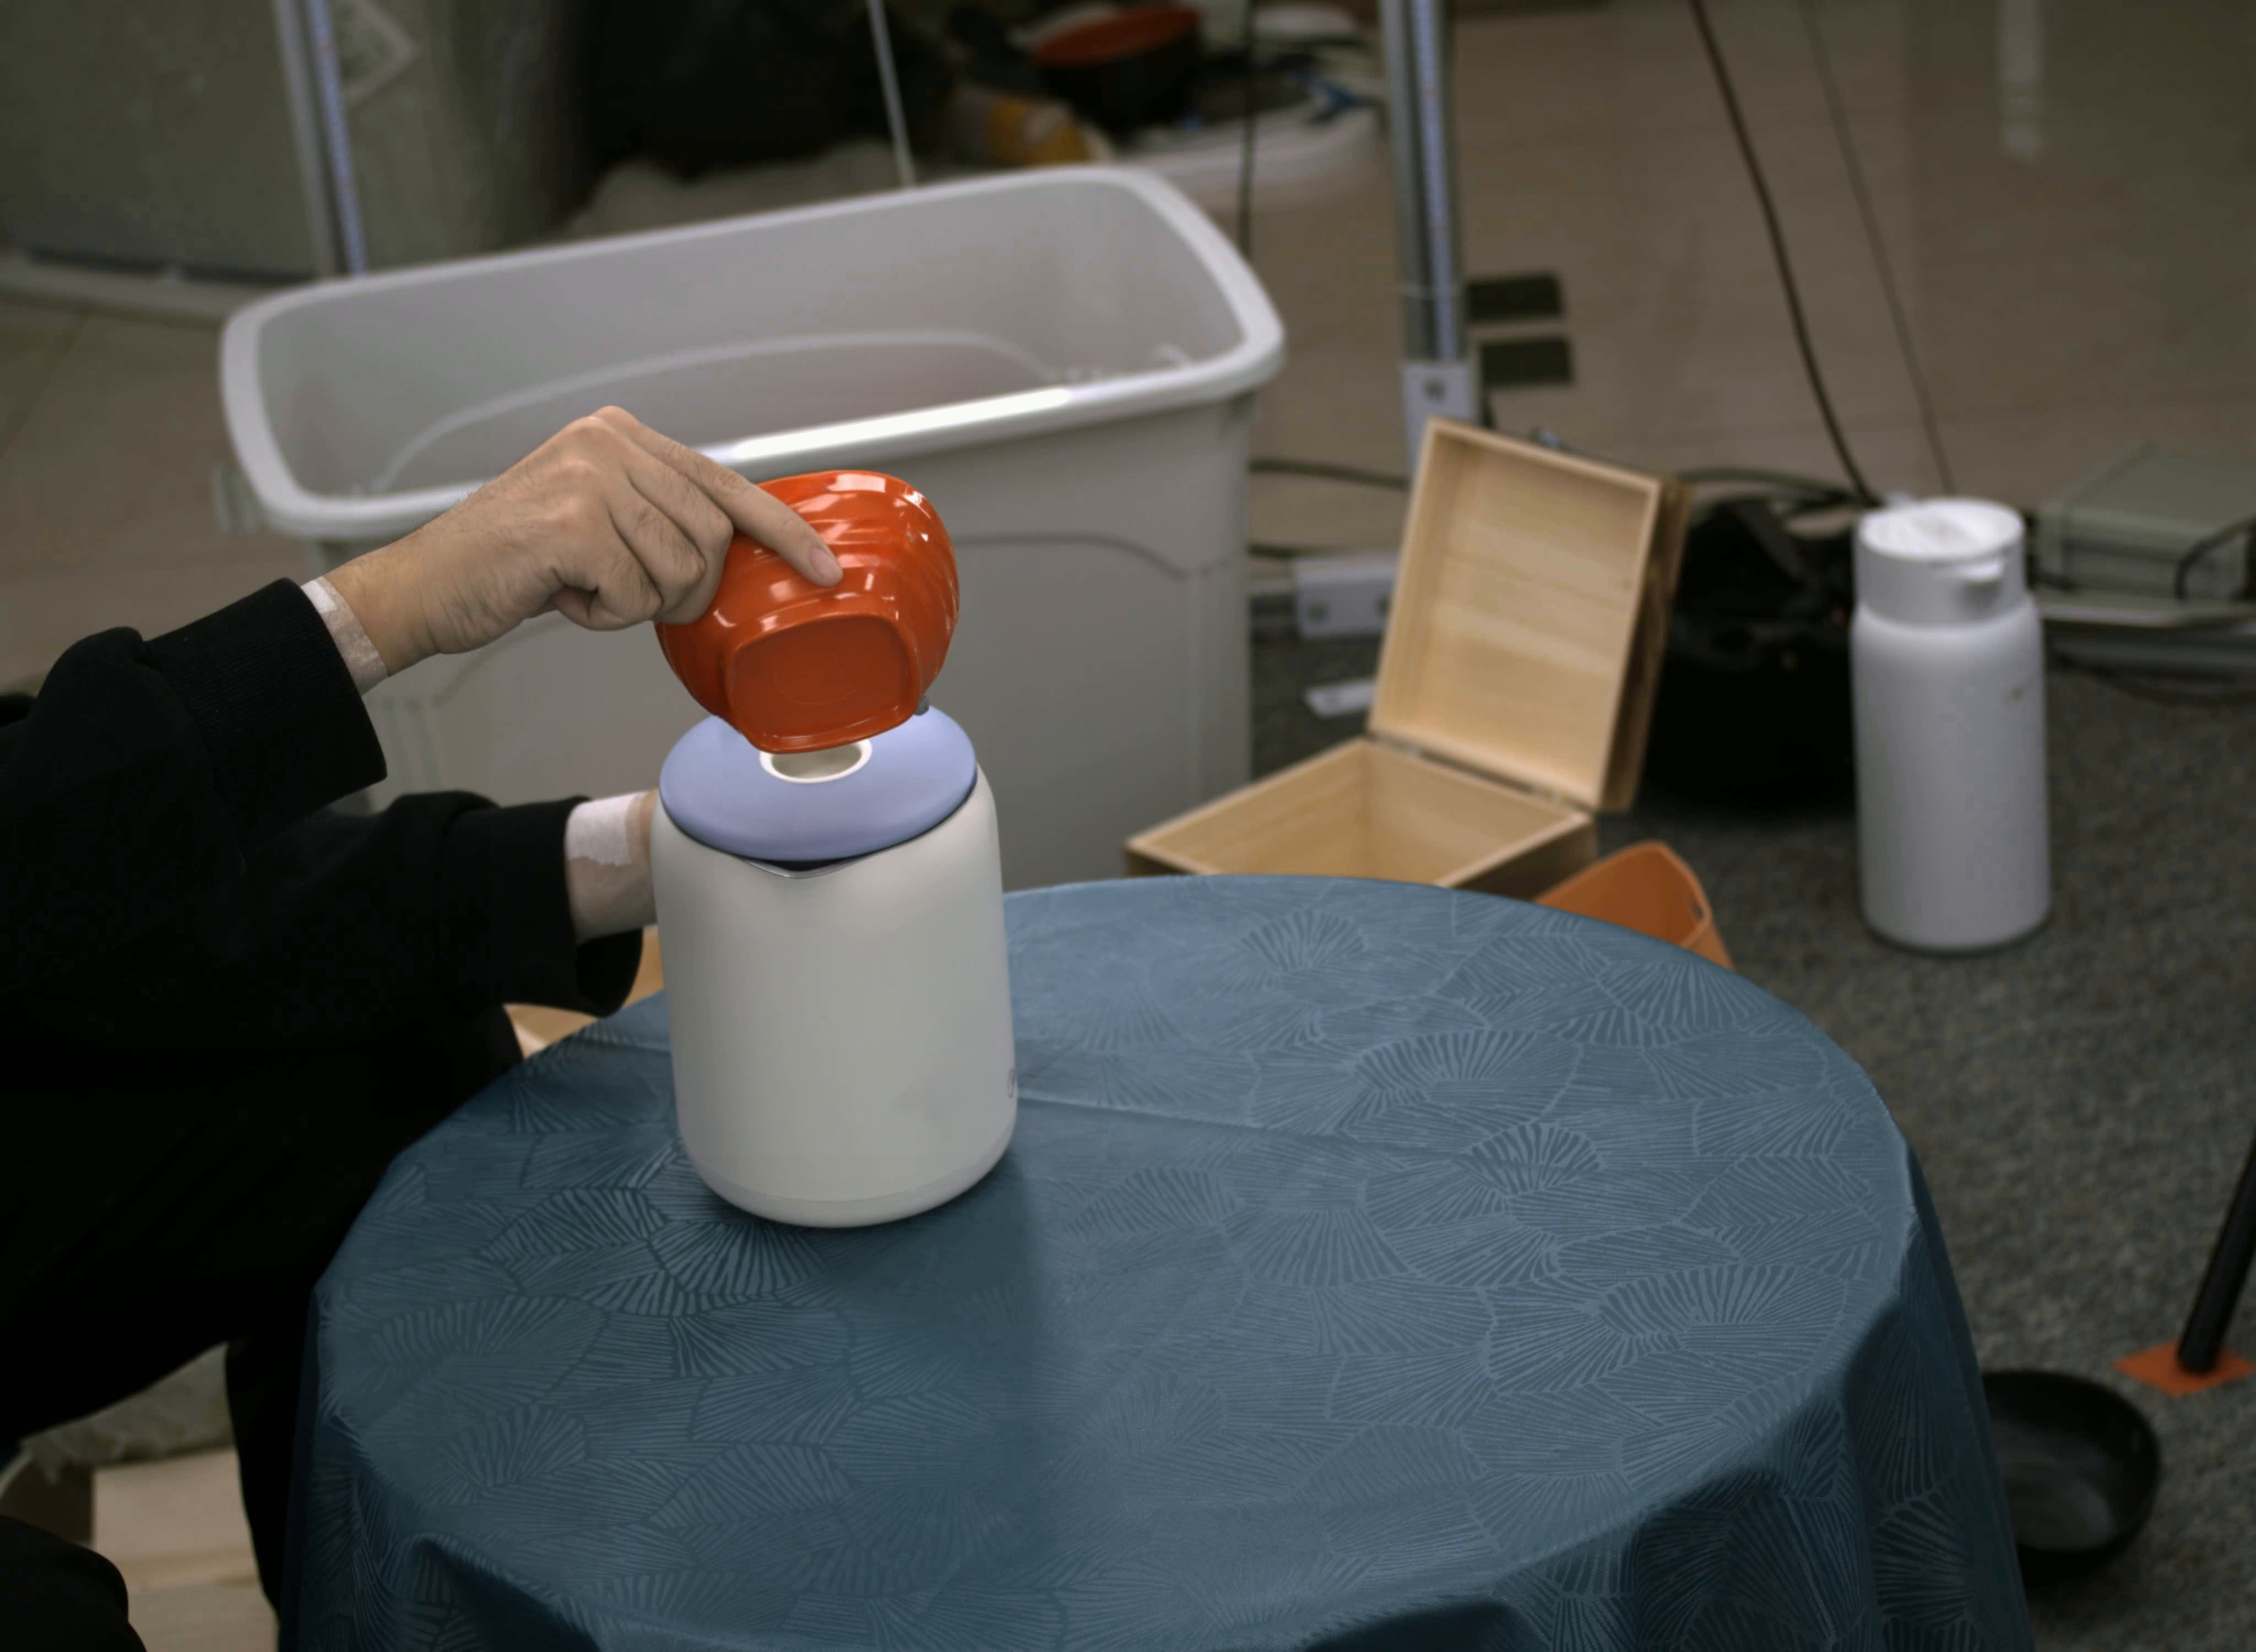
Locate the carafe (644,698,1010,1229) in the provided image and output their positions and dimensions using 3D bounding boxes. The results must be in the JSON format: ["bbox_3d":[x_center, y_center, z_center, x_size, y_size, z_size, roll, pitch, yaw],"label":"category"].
[{"bbox_3d":[-0.112,0.036,2.161,0.132,0.186,0.188,-1,31,2],"label":"carafe"}]

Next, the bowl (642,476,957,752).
[{"bbox_3d":[-0.112,-0.067,1.980,0.119,0.121,0.050,-7,56,-3],"label":"bowl"}]
